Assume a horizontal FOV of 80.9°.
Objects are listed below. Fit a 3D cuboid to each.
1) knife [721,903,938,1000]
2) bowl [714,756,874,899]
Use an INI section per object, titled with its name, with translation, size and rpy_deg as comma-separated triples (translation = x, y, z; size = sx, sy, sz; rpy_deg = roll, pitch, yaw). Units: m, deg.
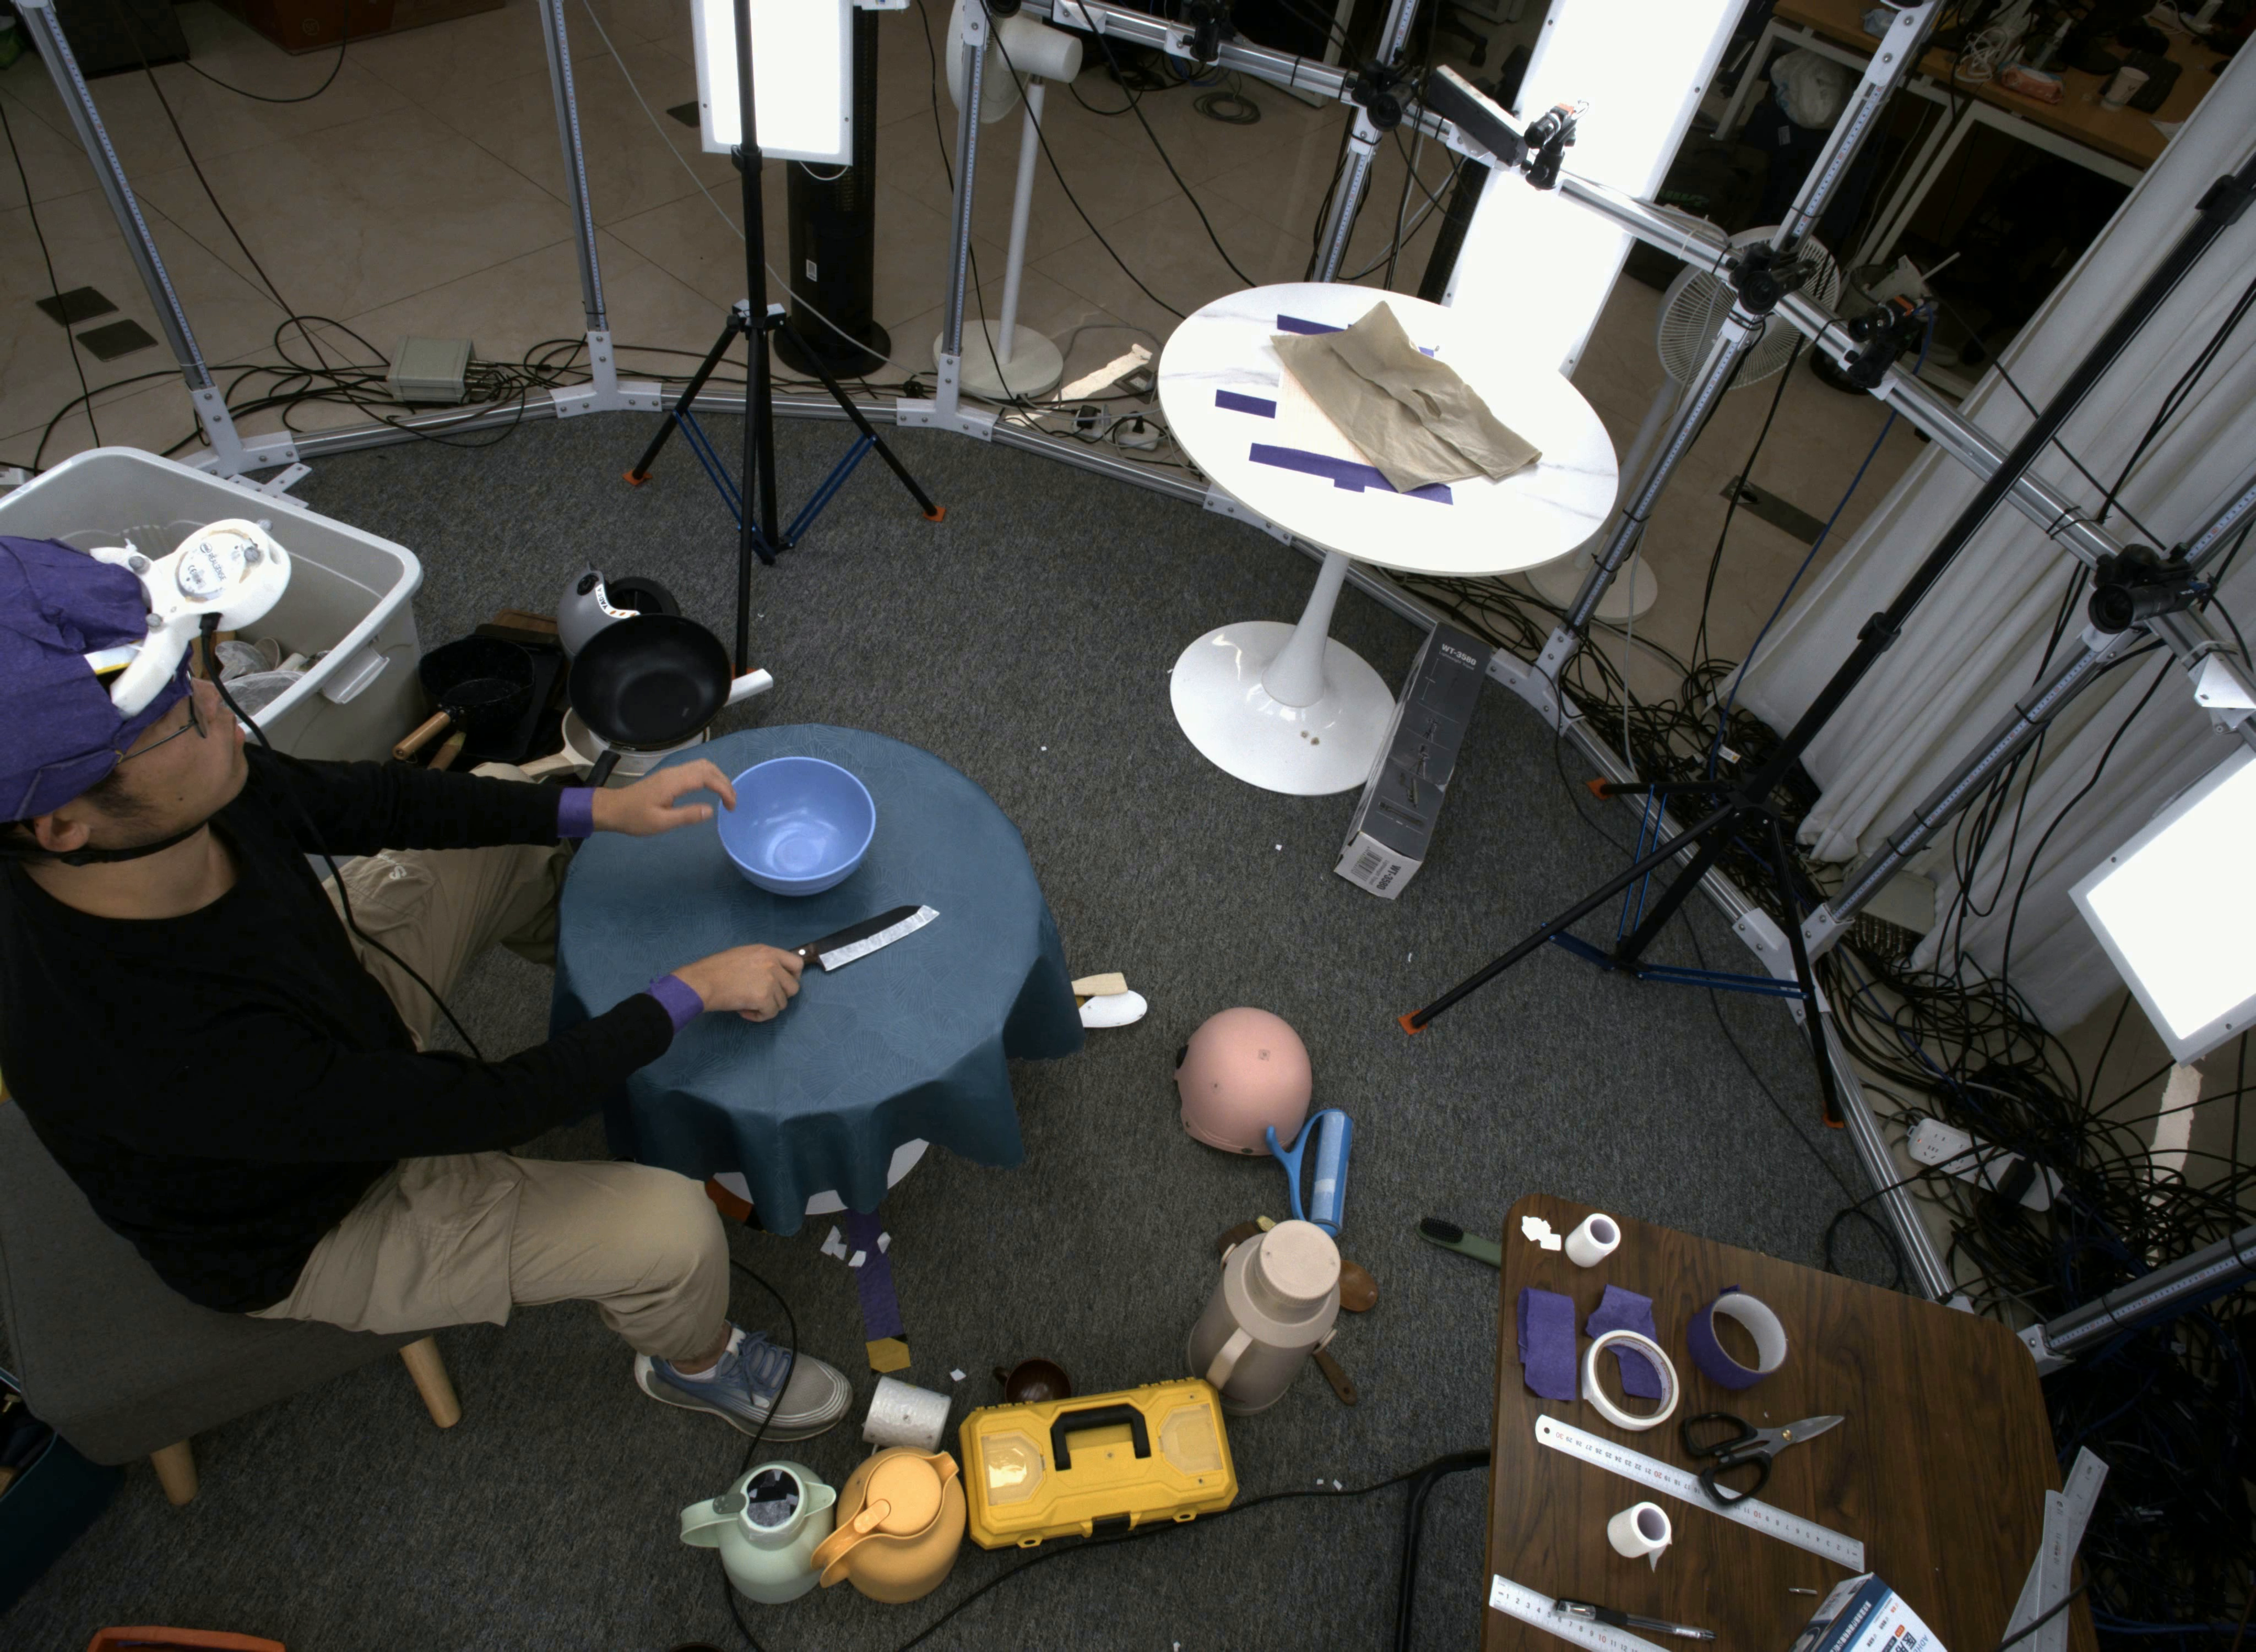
[knife]
translation = -0.365, 0.151, 1.614
size = 0.291, 0.020, 0.049
rpy_deg = -20, 68, -30
[bowl]
translation = -0.422, 0.016, 1.652
size = 0.196, 0.097, 0.193
rpy_deg = 7, 54, -8
